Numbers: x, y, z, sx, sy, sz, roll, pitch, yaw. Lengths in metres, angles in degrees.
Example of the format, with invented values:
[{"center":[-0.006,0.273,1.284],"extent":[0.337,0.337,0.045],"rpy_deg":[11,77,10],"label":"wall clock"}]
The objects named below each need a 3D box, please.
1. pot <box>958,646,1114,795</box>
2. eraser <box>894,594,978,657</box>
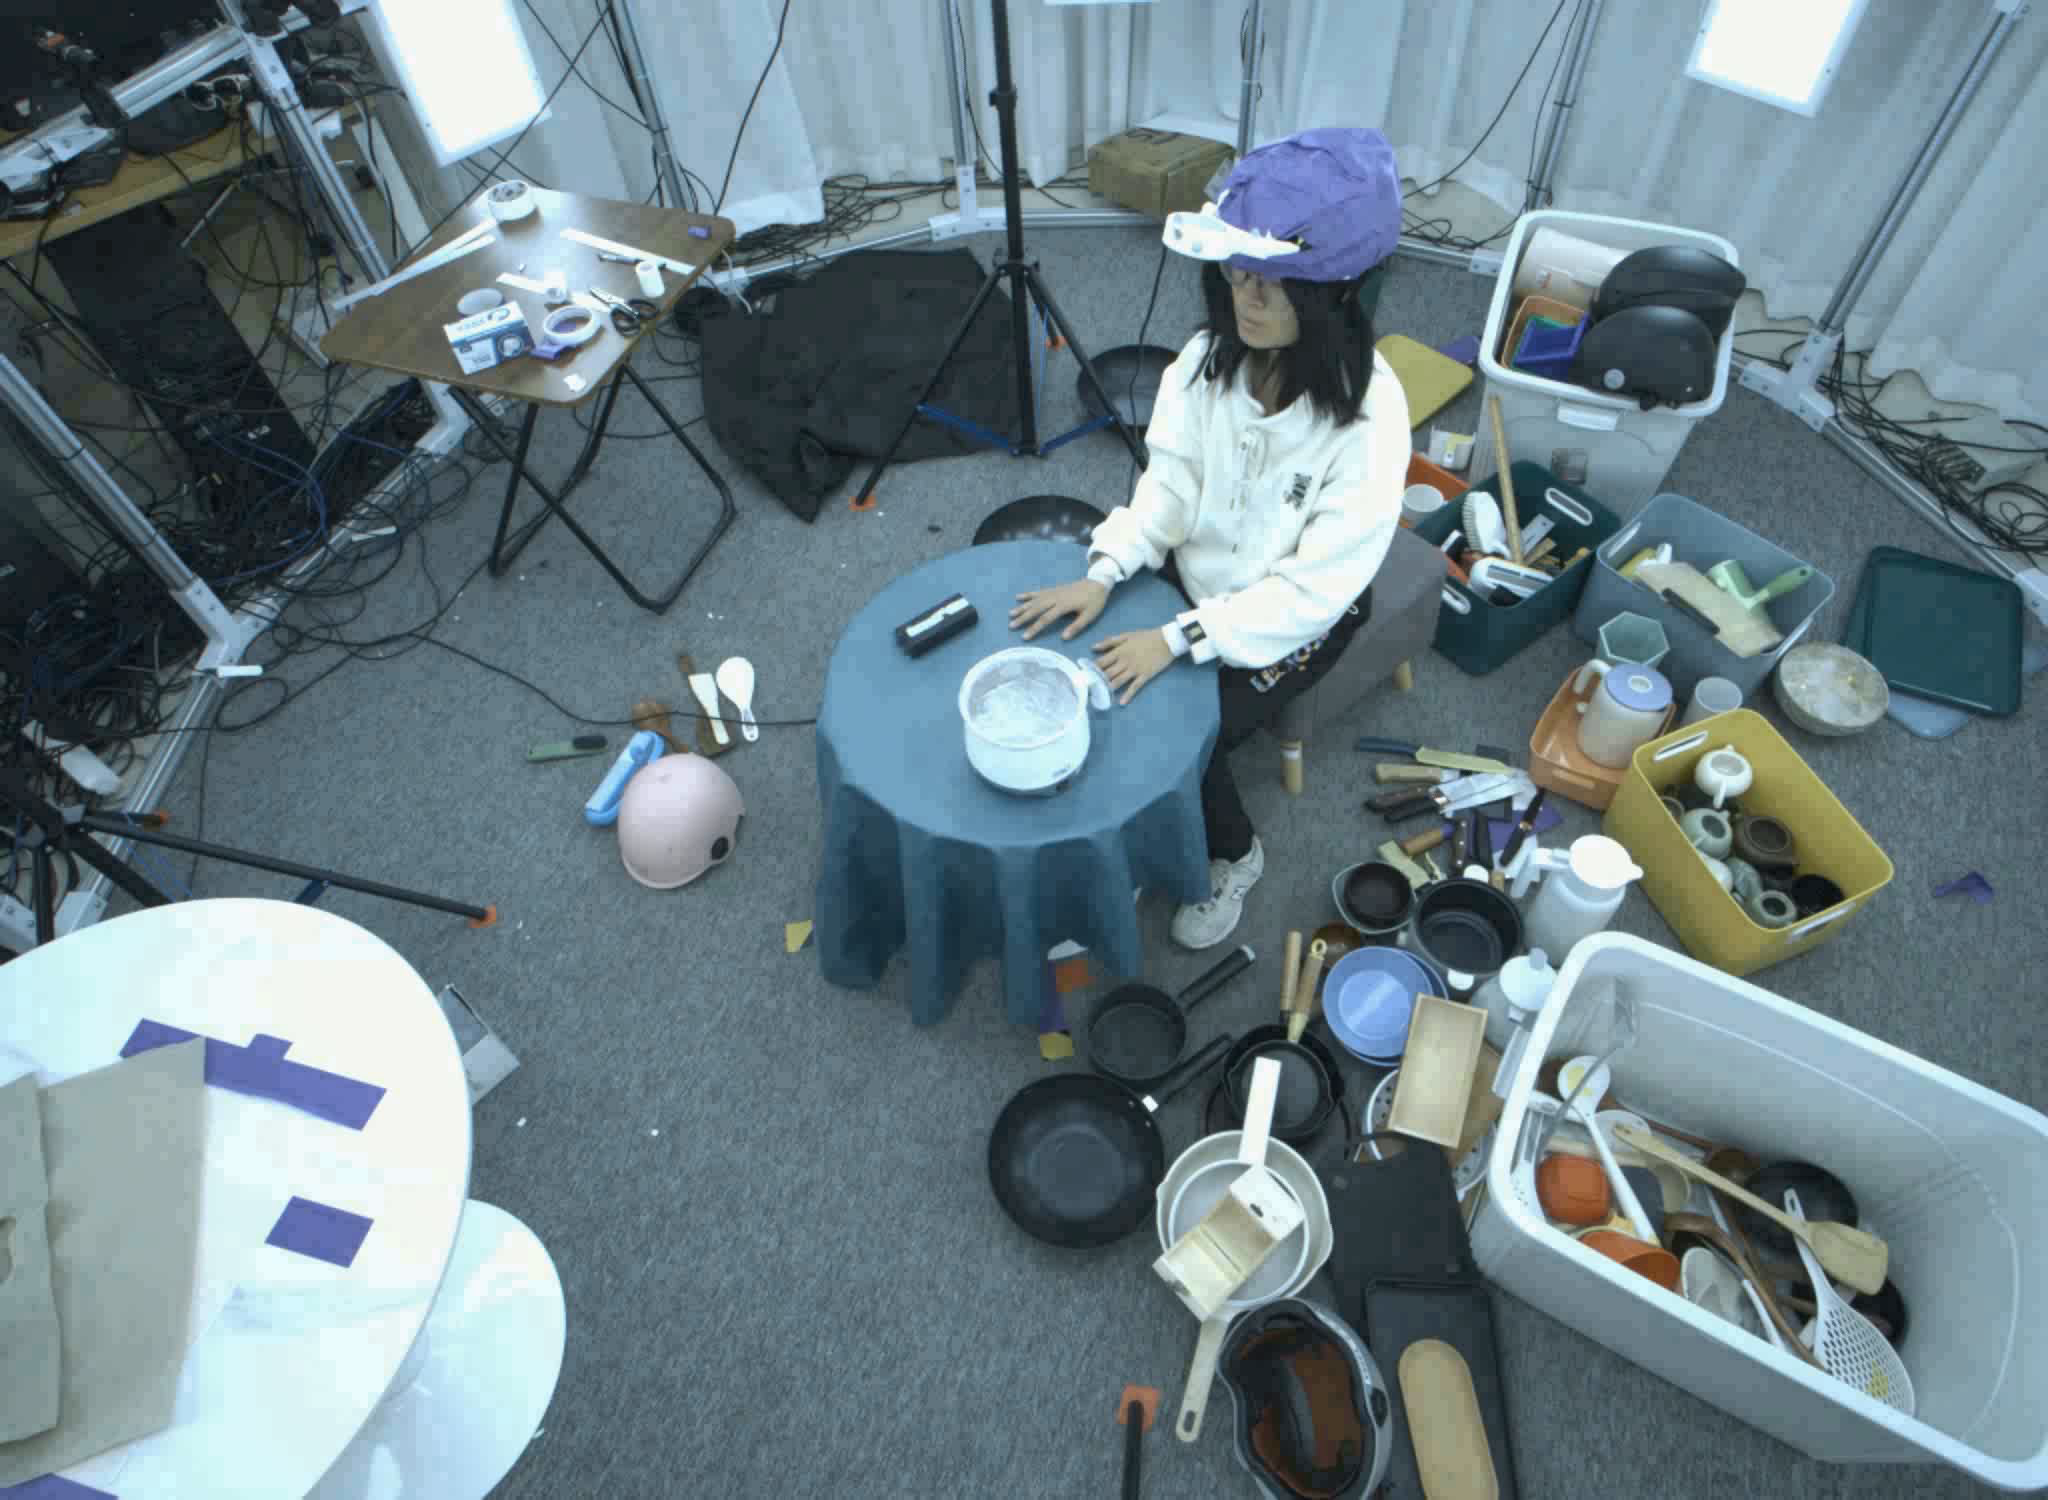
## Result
[{"center":[0.025,-0.051,1.737],"extent":[0.235,0.138,0.175],"rpy_deg":[-32,59,-18],"label":"pot"},{"center":[-0.138,-0.195,1.913],"extent":[0.126,0.031,0.052],"rpy_deg":[-31,60,-20],"label":"eraser"}]
